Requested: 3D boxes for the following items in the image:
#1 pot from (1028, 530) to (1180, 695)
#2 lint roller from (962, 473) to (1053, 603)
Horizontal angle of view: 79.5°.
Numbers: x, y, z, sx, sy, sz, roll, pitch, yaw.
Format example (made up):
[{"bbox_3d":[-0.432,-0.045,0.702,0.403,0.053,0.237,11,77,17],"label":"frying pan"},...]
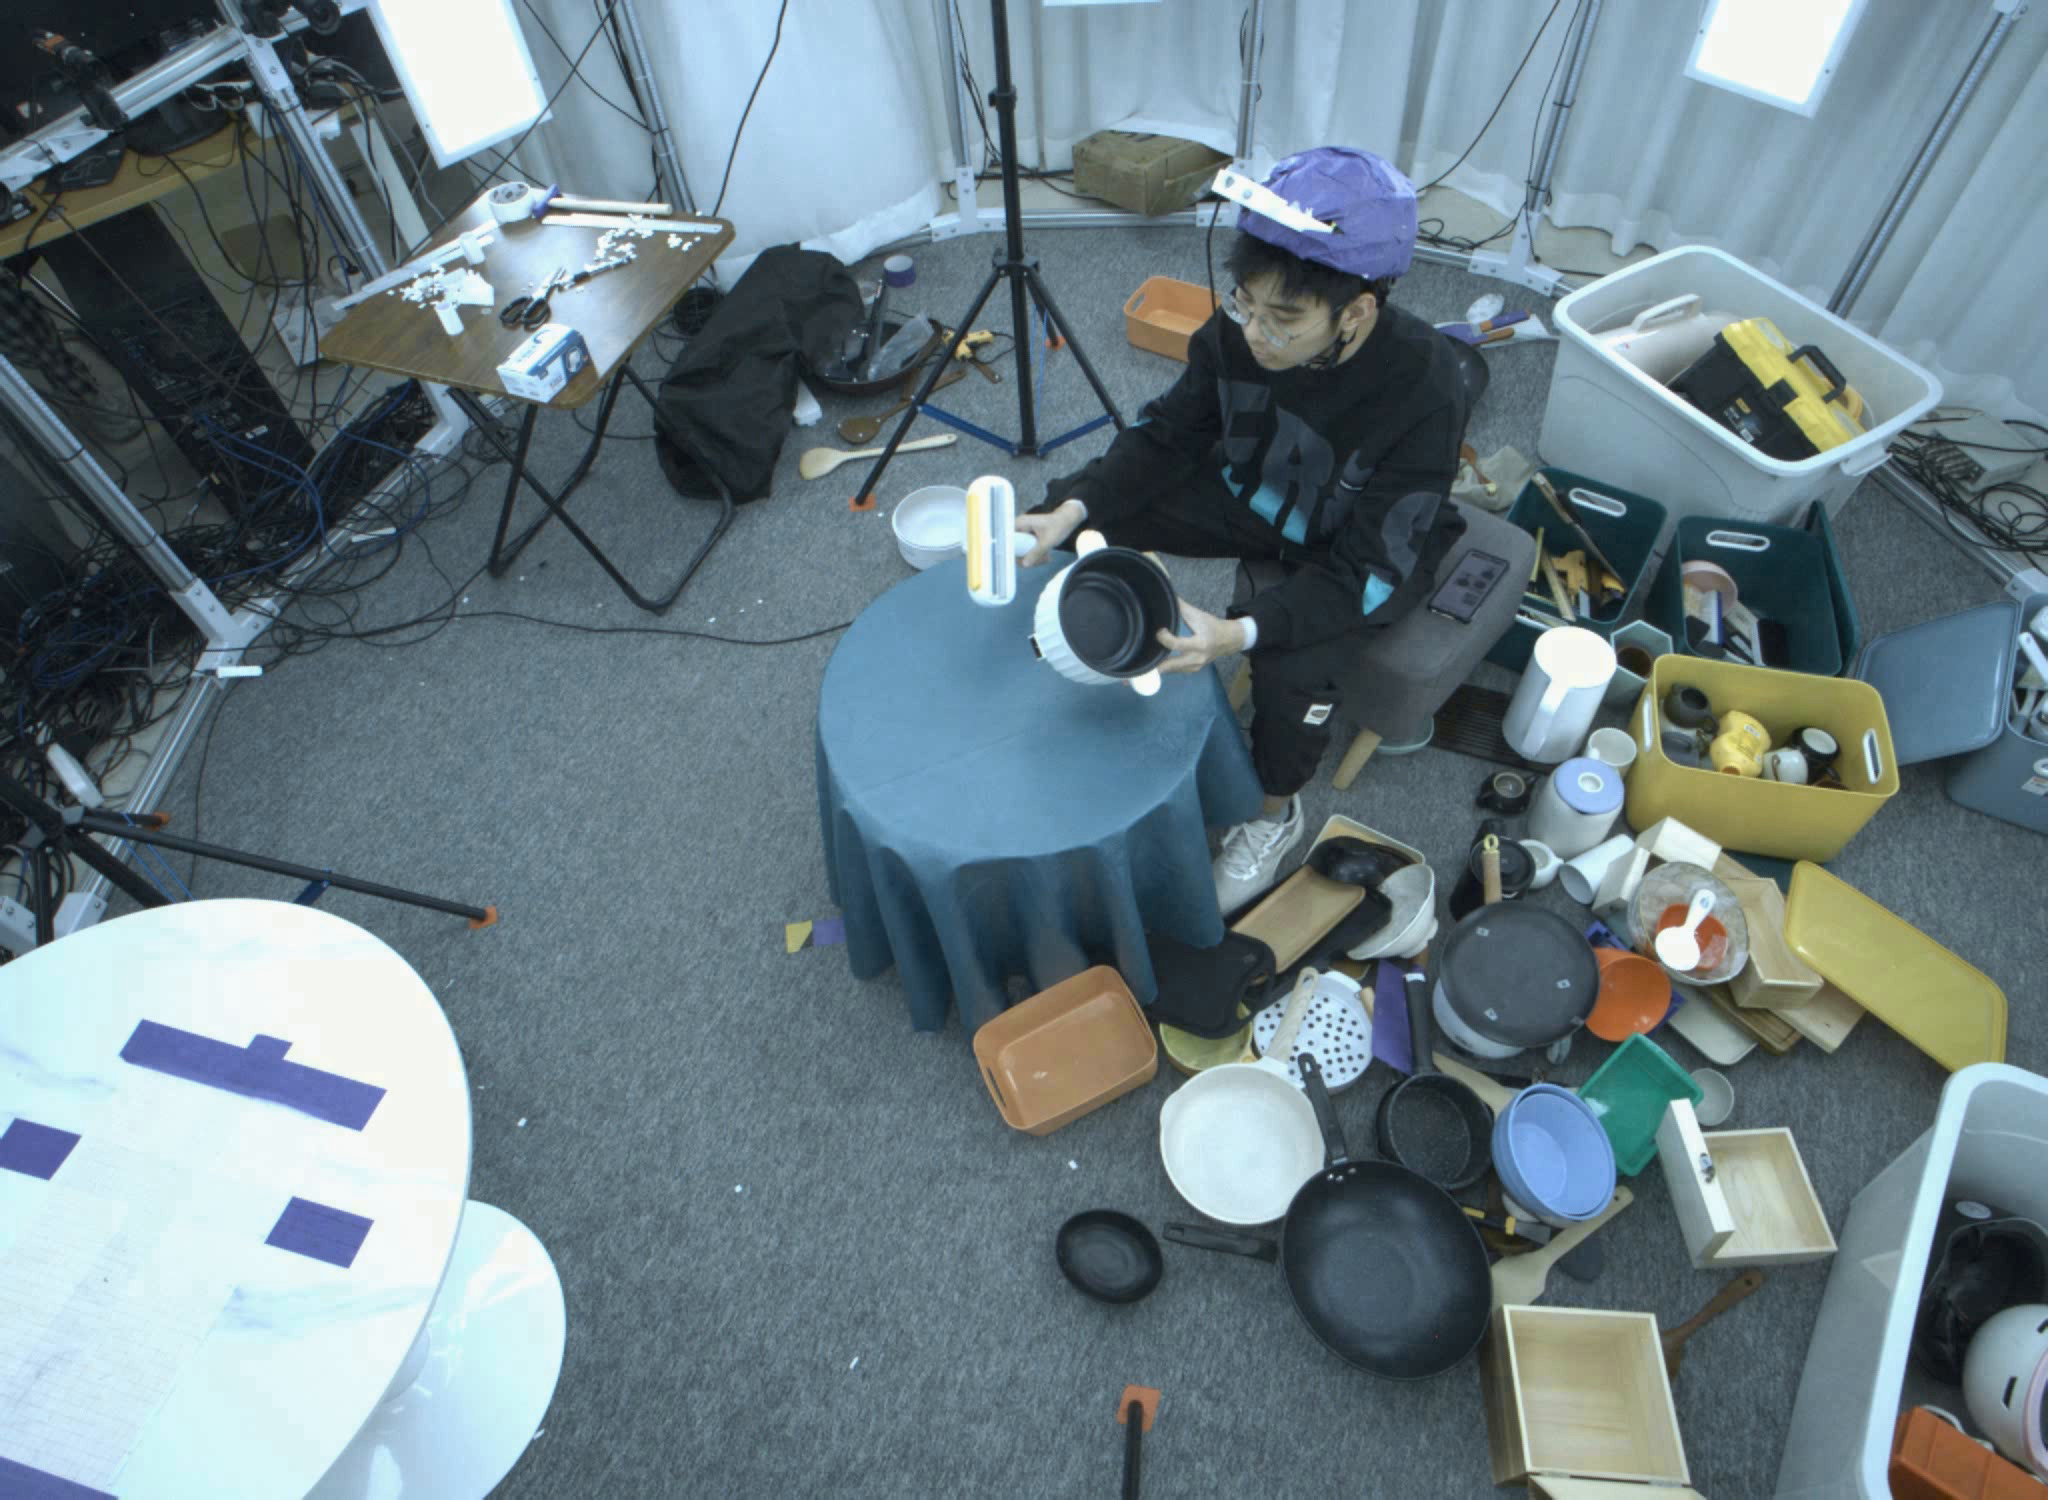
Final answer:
[{"bbox_3d":[0.112,-0.184,1.722,0.192,0.141,0.241,-25,97,-18],"label":"pot"},{"bbox_3d":[-0.016,-0.314,1.860,0.196,0.072,0.193,-2,89,-44],"label":"lint roller"}]
